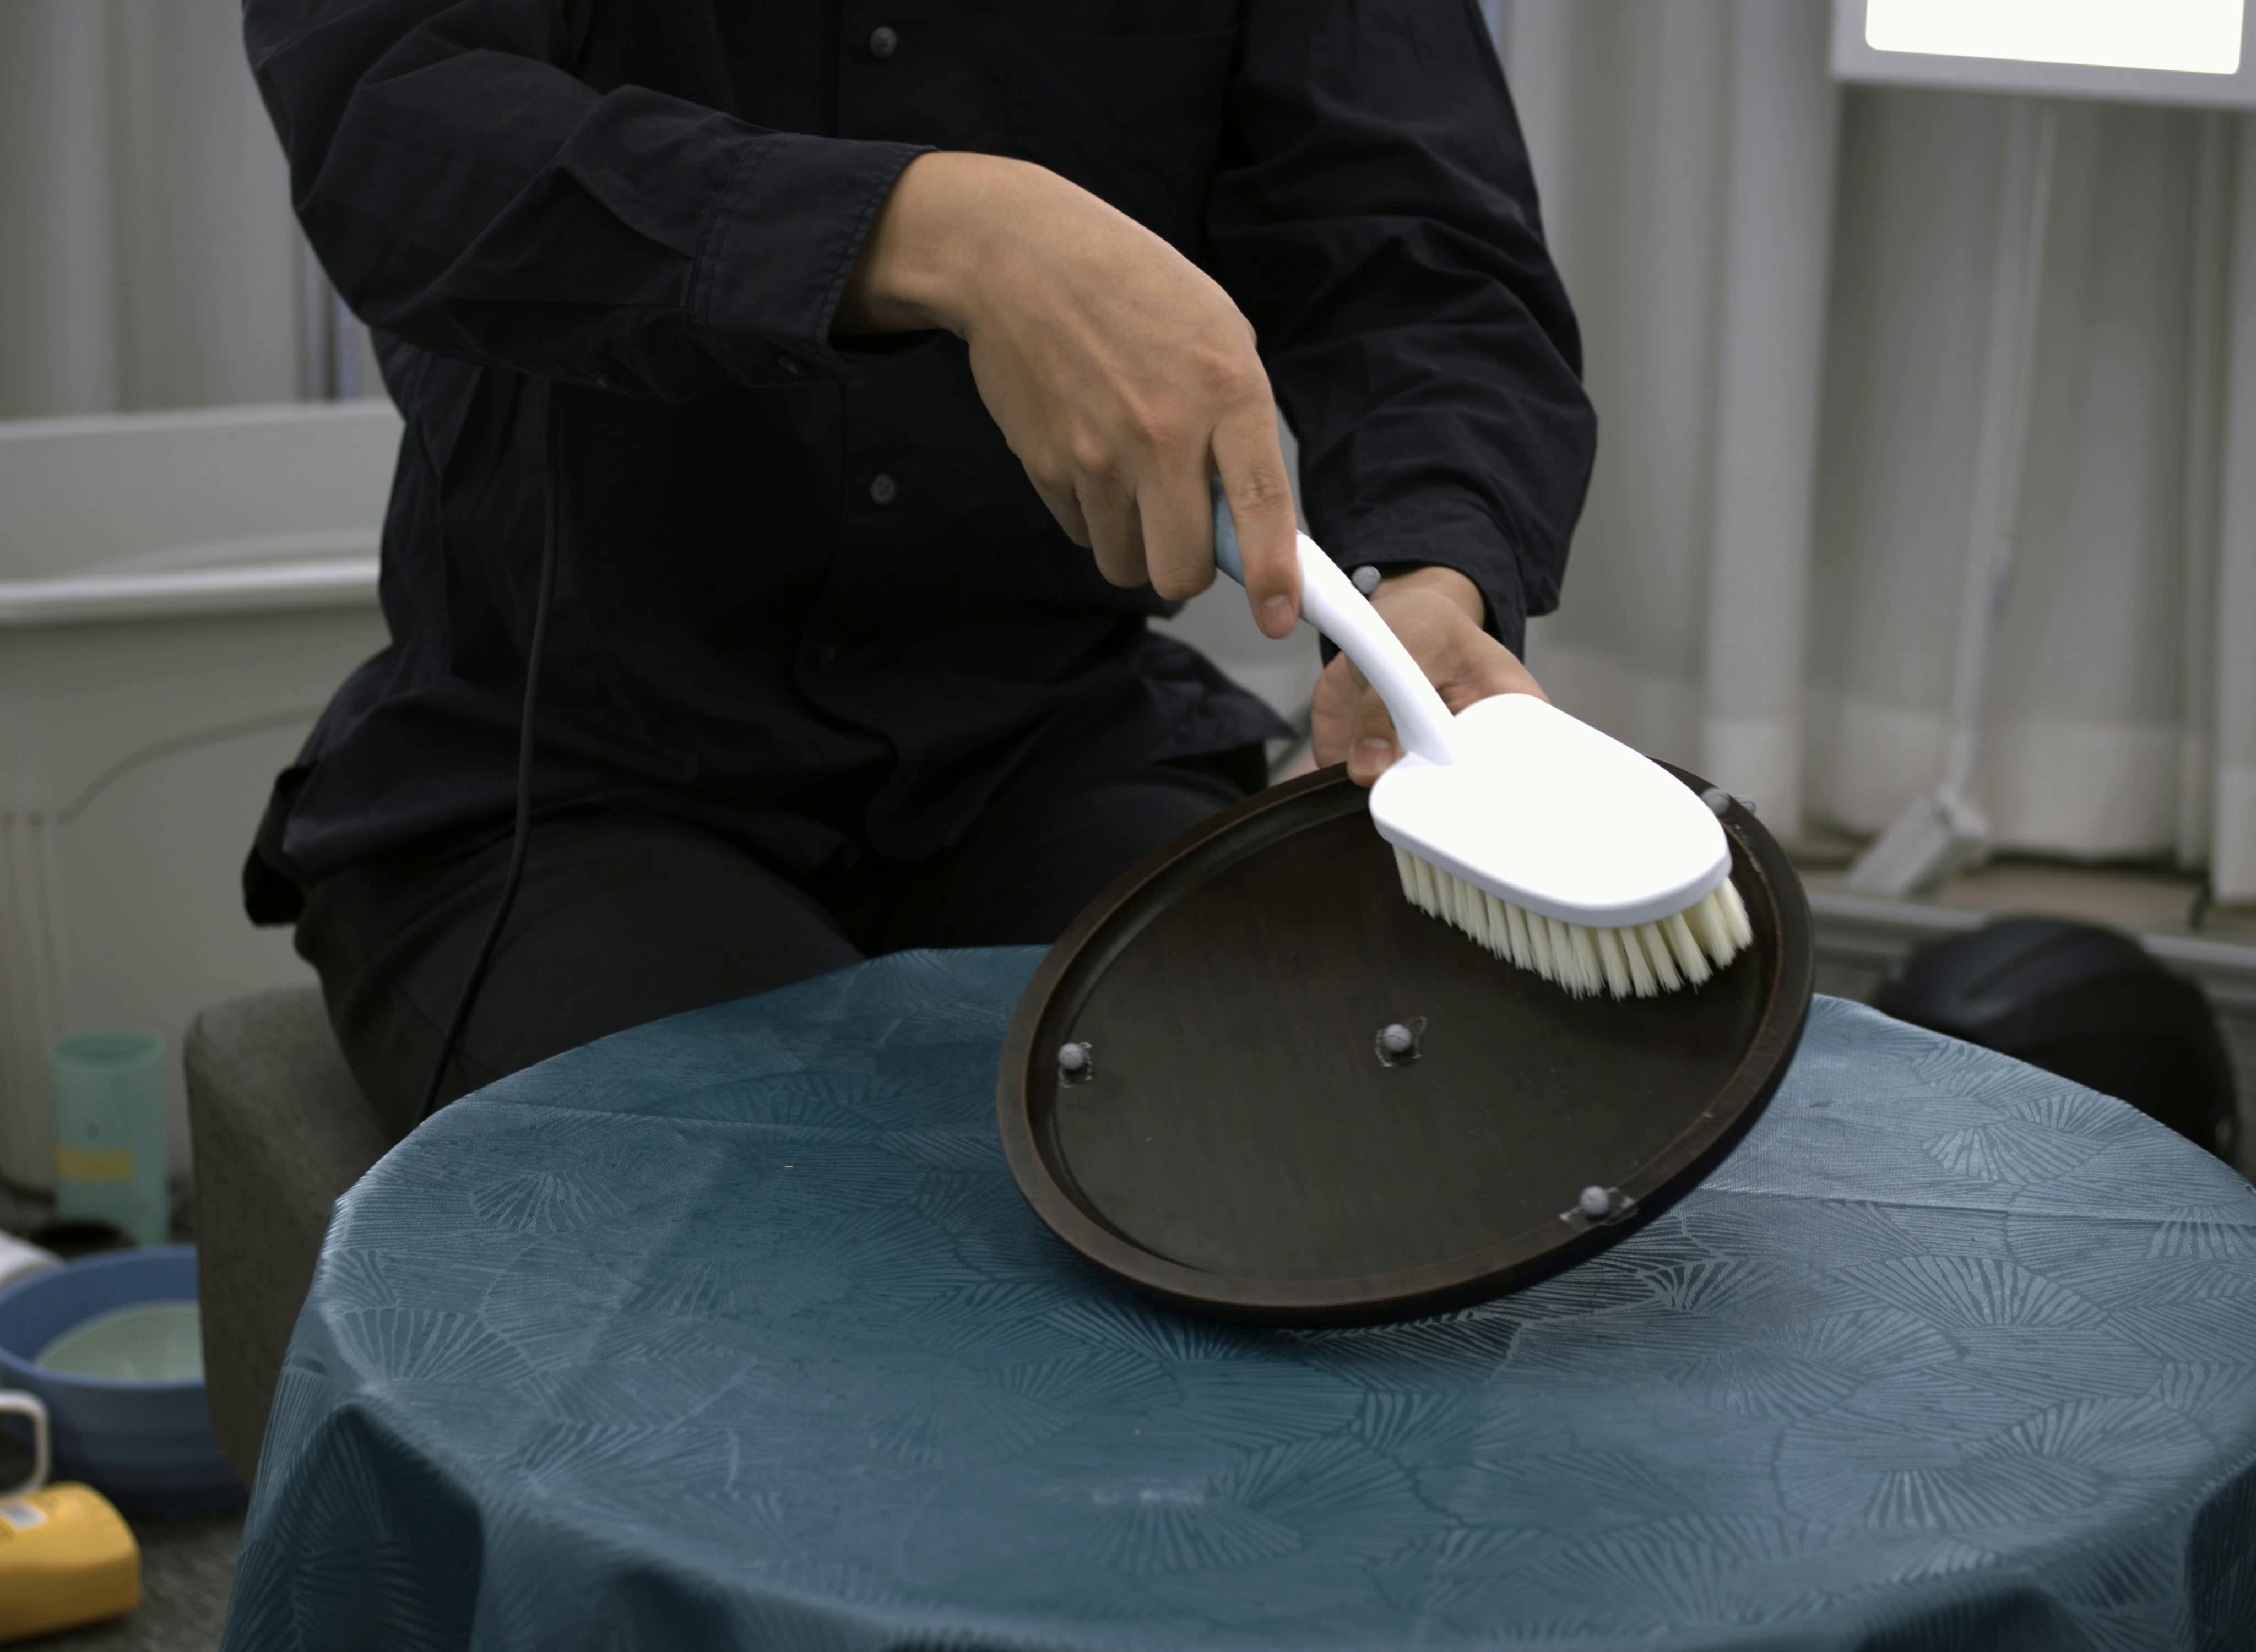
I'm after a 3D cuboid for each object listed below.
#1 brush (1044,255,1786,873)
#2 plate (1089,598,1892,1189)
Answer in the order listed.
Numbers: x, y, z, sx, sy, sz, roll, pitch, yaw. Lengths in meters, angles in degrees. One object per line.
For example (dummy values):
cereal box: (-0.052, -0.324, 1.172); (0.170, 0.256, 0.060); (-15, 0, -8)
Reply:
brush: (0.090, -0.079, 1.679); (0.083, 0.085, 0.321); (-6, 36, -48)
plate: (0.111, 0.020, 1.617); (0.253, 0.029, 0.252); (-13, 38, 11)
